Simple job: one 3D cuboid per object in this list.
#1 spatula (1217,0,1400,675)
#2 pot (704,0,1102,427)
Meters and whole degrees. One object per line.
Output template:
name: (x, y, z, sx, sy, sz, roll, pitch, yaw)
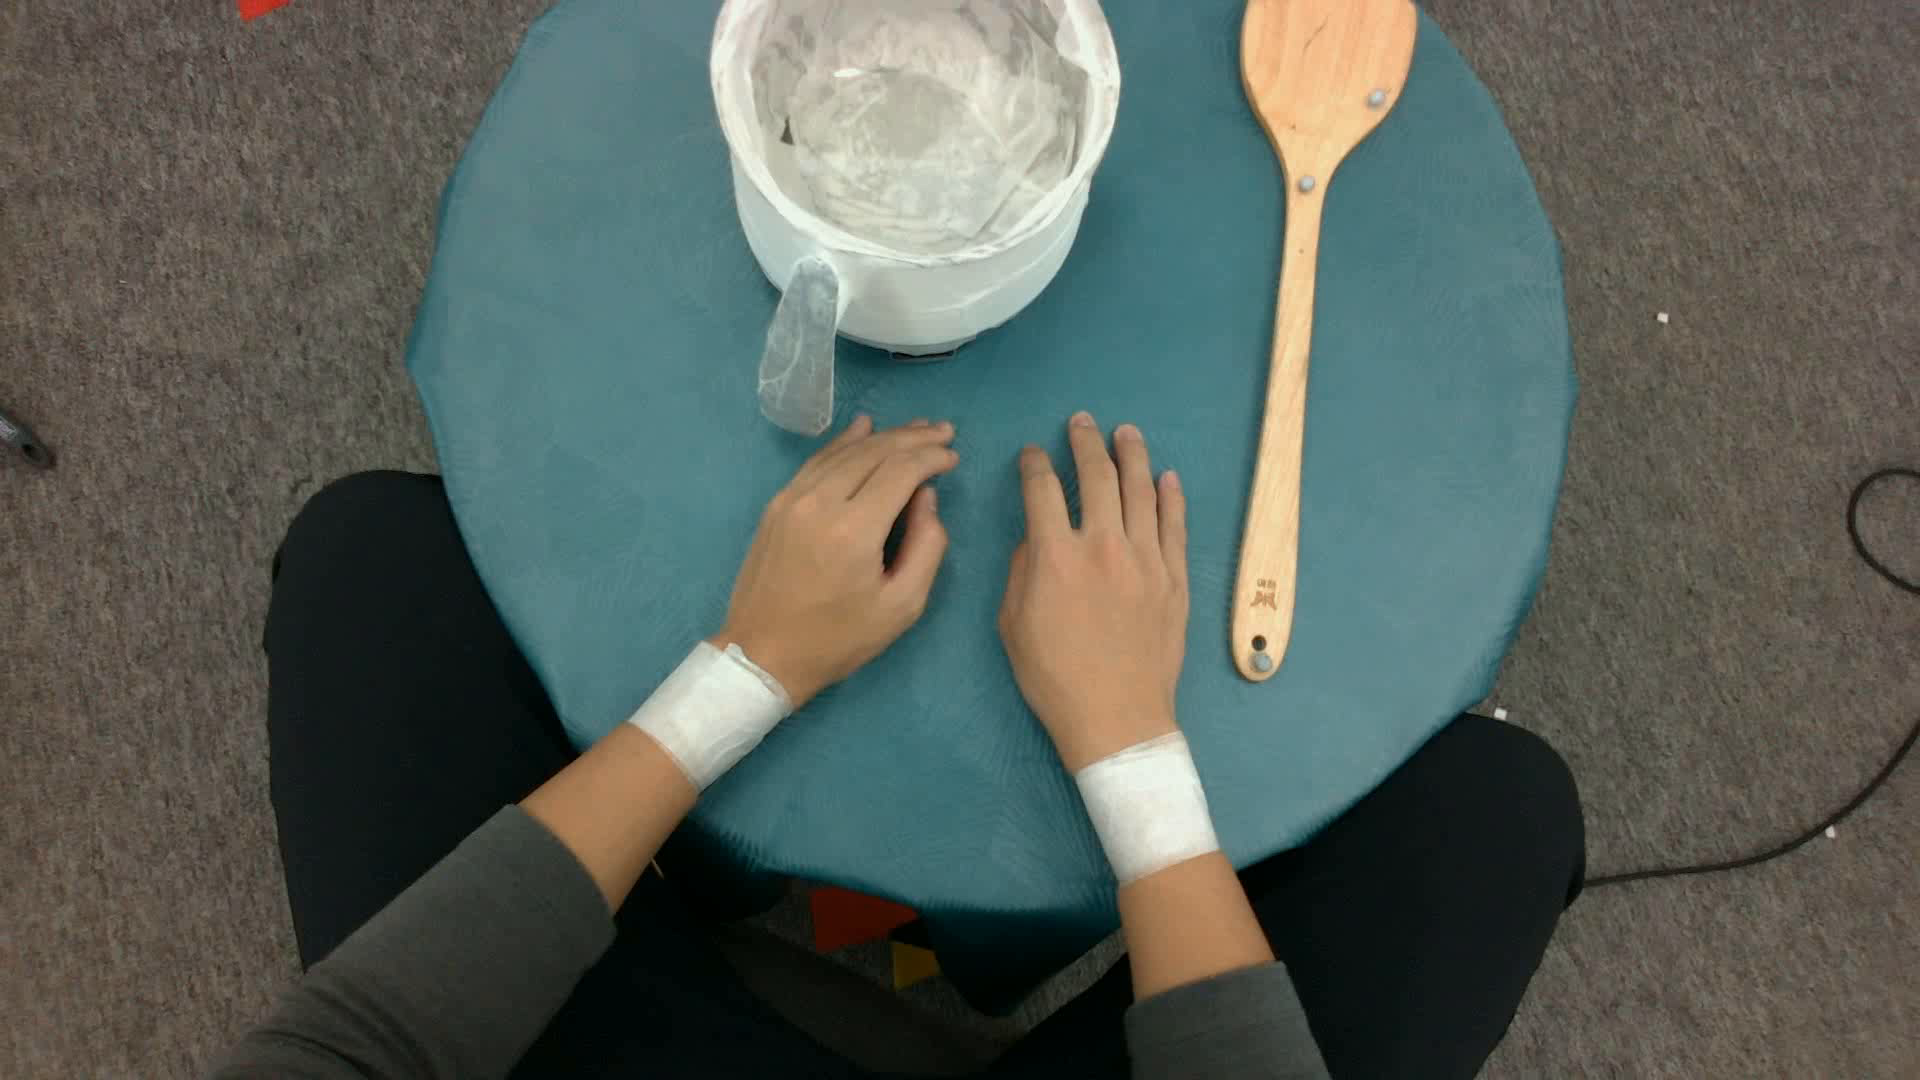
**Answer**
spatula: (0.174, -0.121, 0.733, 0.096, 0.018, 0.391, 8, 77, -2)
pot: (-0.040, -0.169, 0.663, 0.179, 0.136, 0.234, 24, 77, 1)
